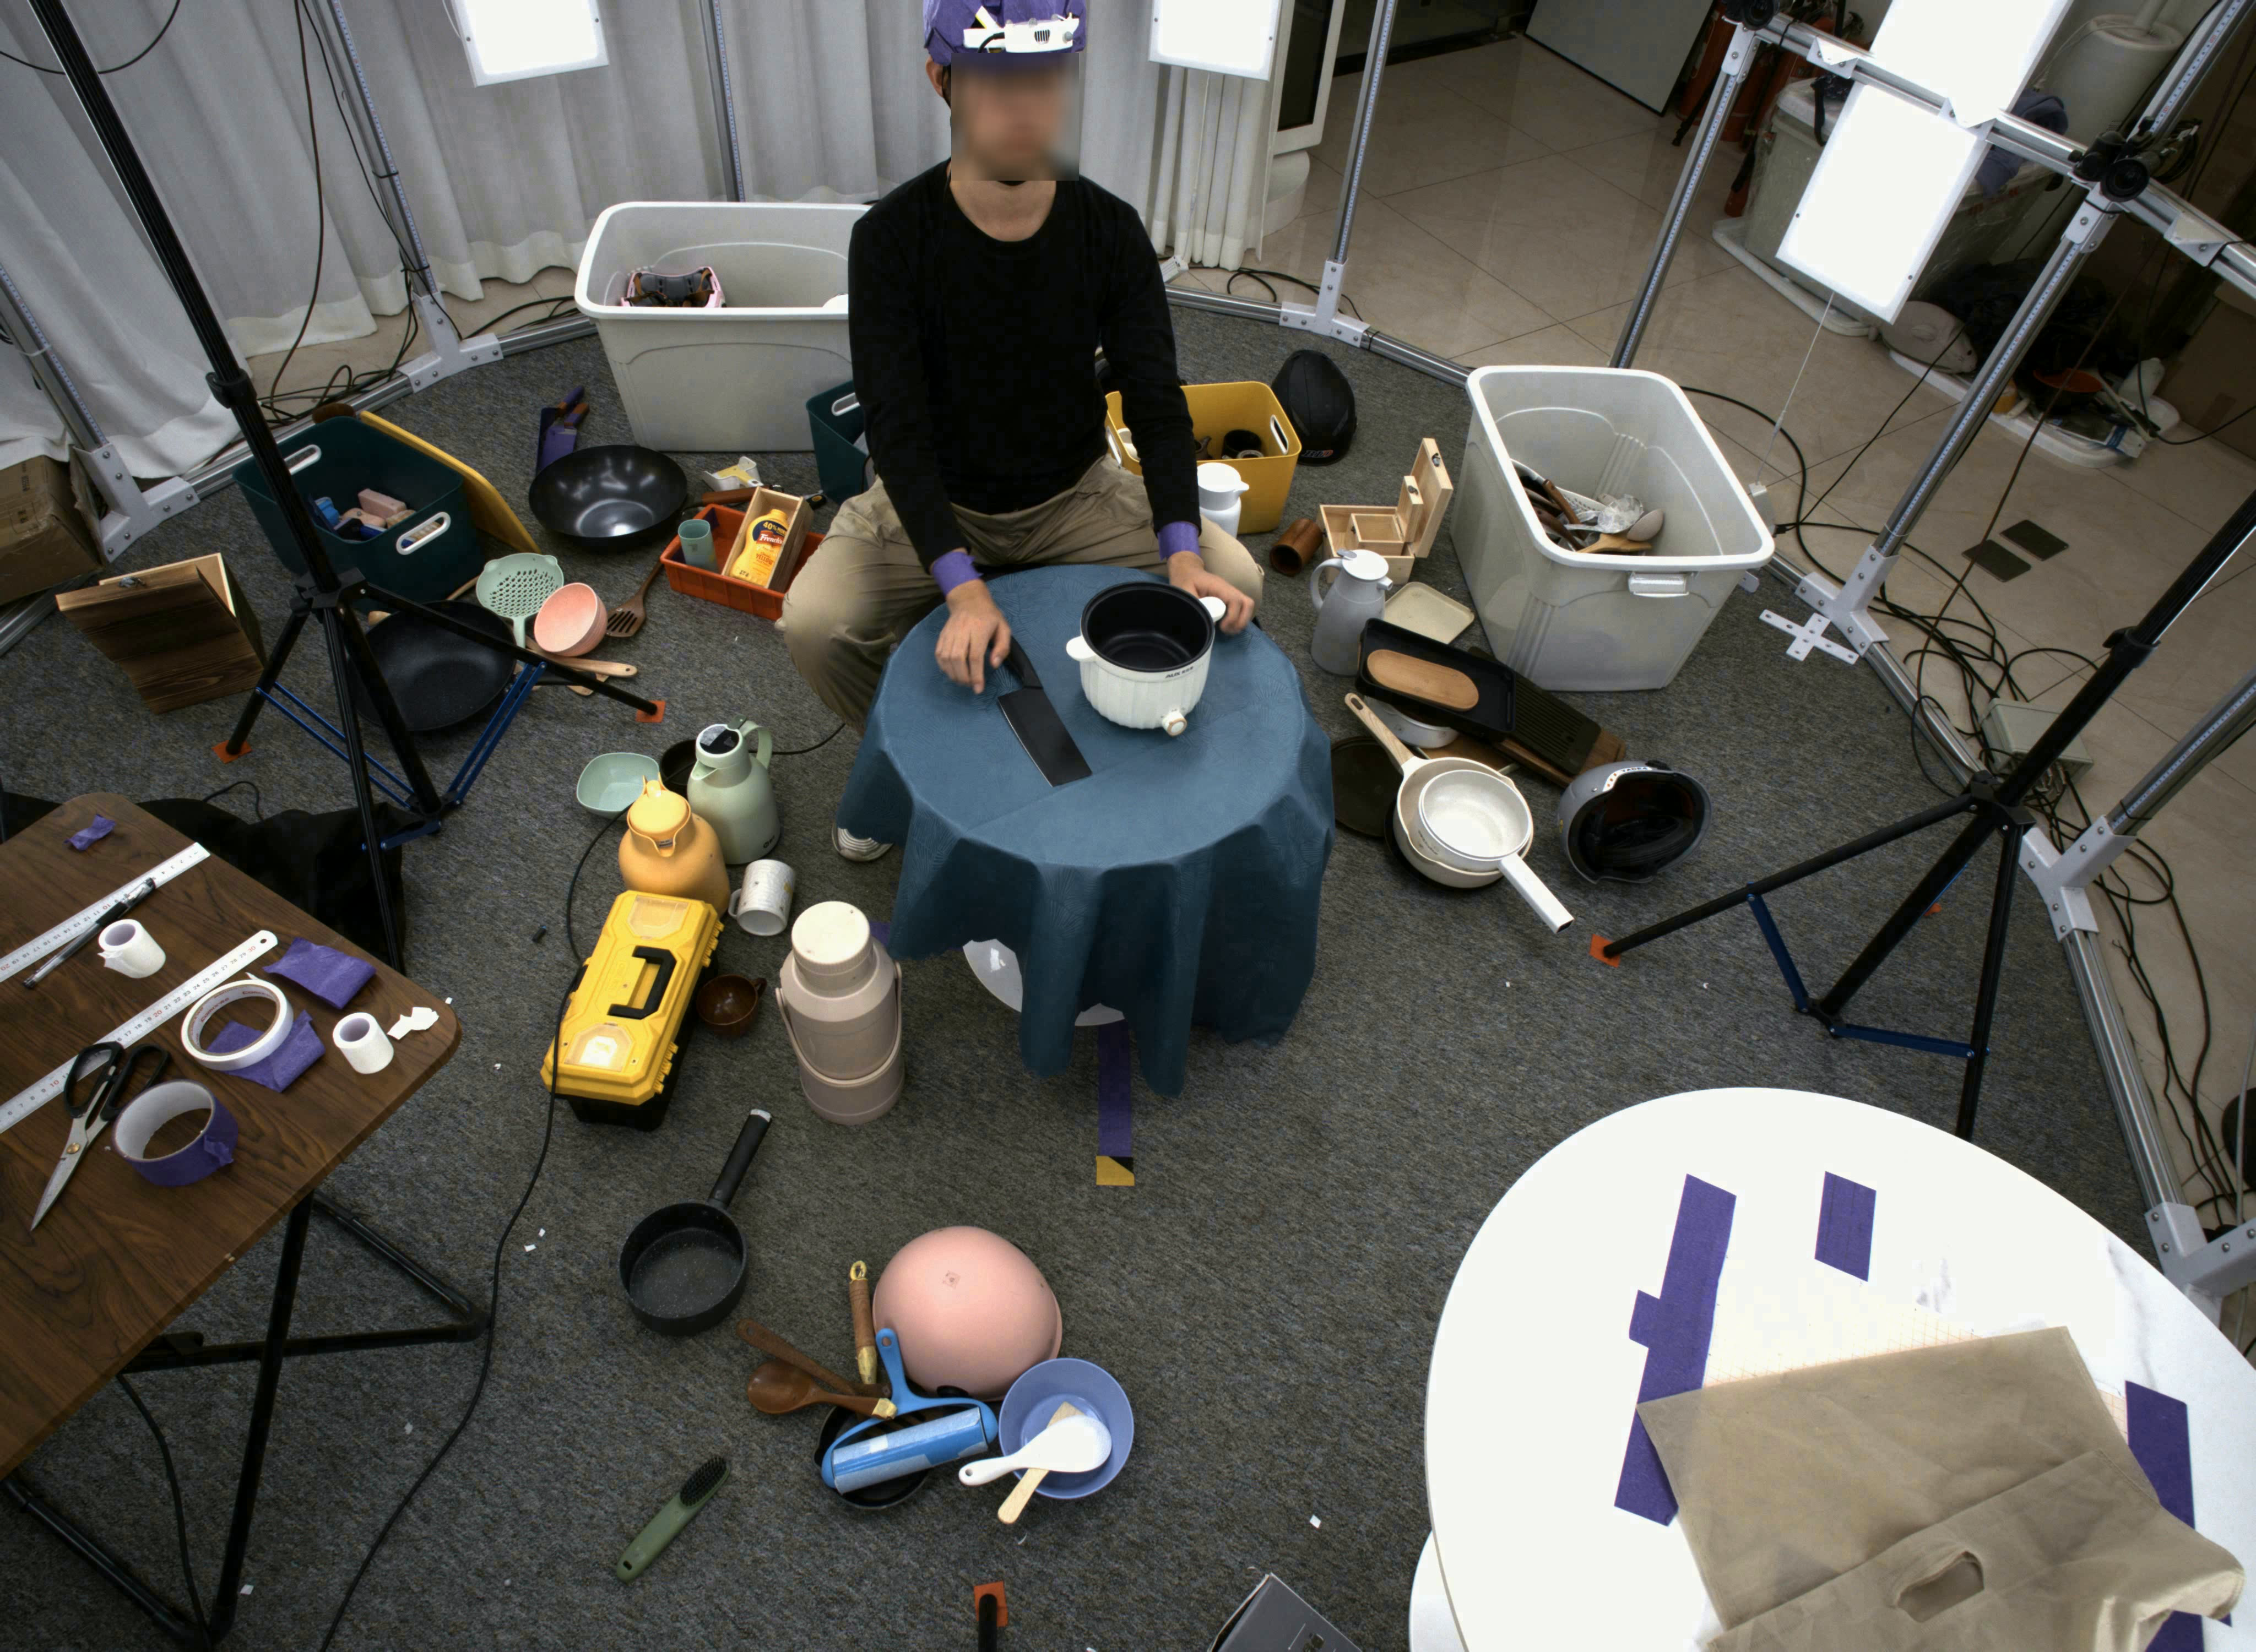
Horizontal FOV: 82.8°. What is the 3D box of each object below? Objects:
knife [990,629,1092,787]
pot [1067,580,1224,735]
[{"bbox_3d":[-0.136,-0.171,1.801,0.081,0.020,0.309,-14,54,-15],"label":"knife"},{"bbox_3d":[0.027,-0.227,1.779,0.241,0.139,0.195,-21,51,-19],"label":"pot"}]
